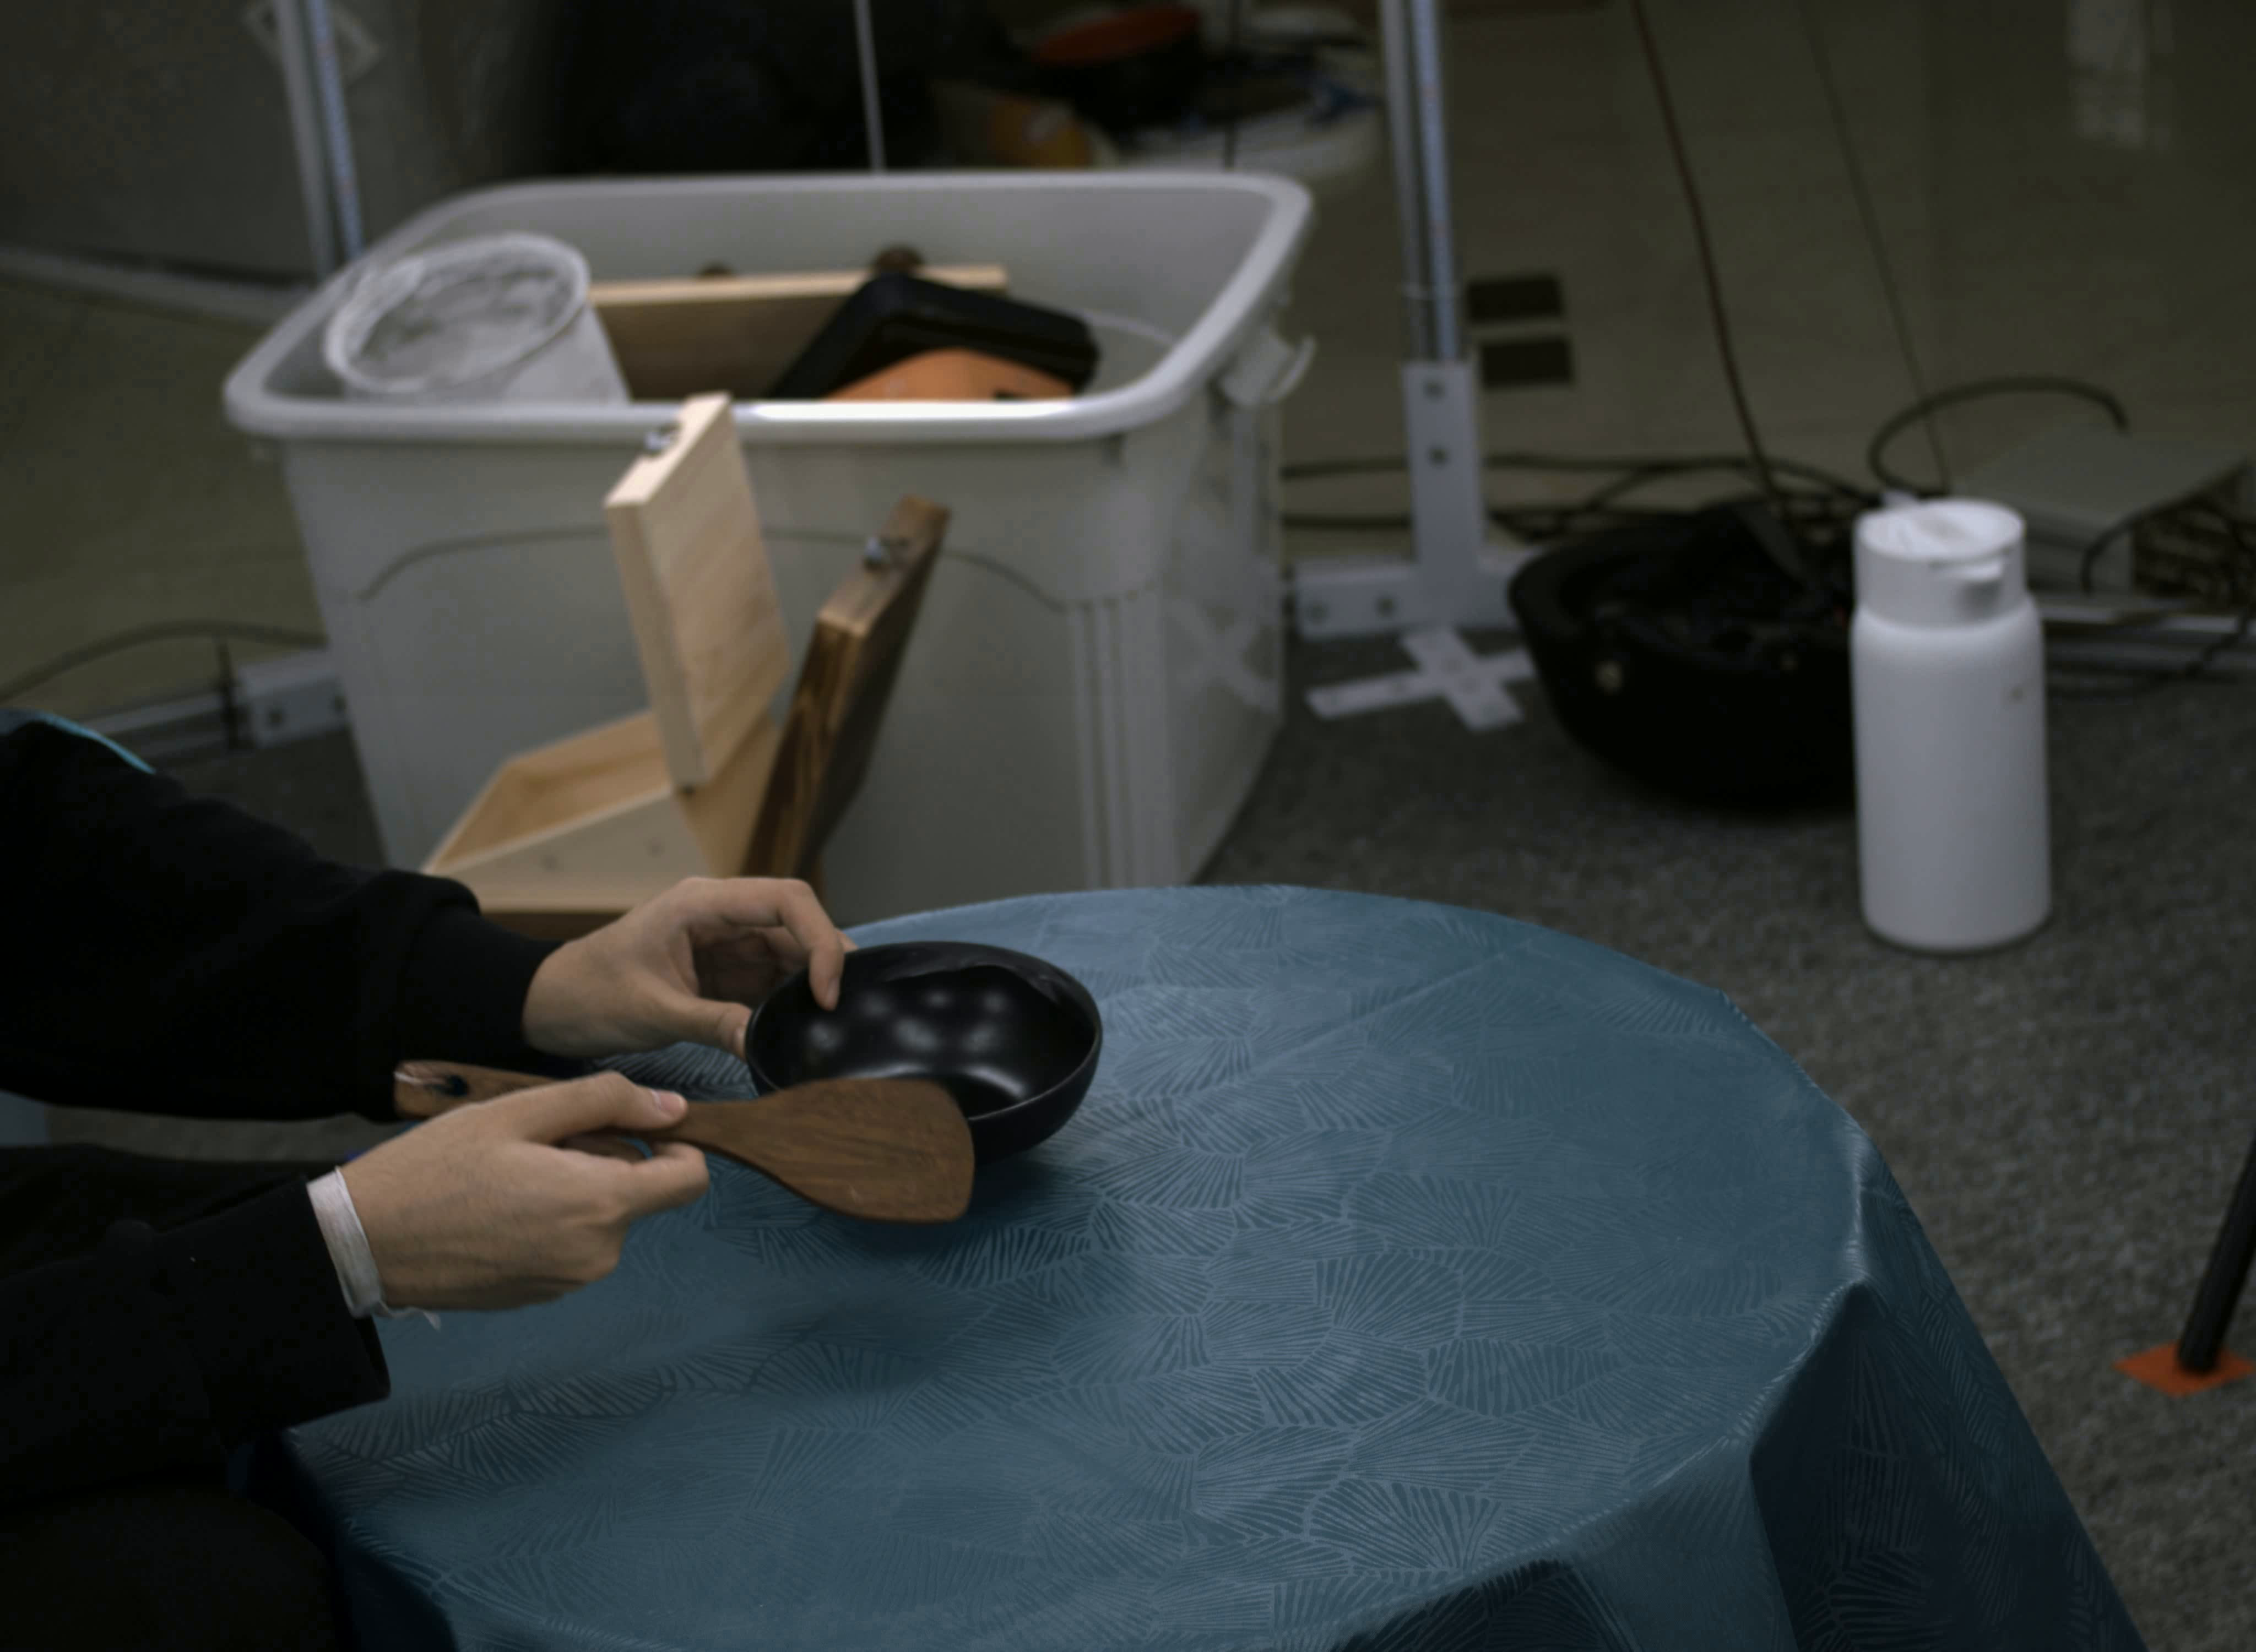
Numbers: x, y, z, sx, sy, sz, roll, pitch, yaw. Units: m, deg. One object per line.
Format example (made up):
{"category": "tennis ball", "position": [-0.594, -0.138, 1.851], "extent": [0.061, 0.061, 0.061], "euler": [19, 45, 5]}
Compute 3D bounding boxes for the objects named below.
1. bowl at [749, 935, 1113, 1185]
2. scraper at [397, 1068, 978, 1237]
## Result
{"category": "bowl", "position": [-0.075, 0.099, 2.186], "extent": [0.140, 0.050, 0.137], "euler": [-1, 32, 1]}
{"category": "scraper", "position": [-0.158, 0.110, 2.043], "extent": [0.211, 0.011, 0.074], "euler": [8, 41, -9]}
